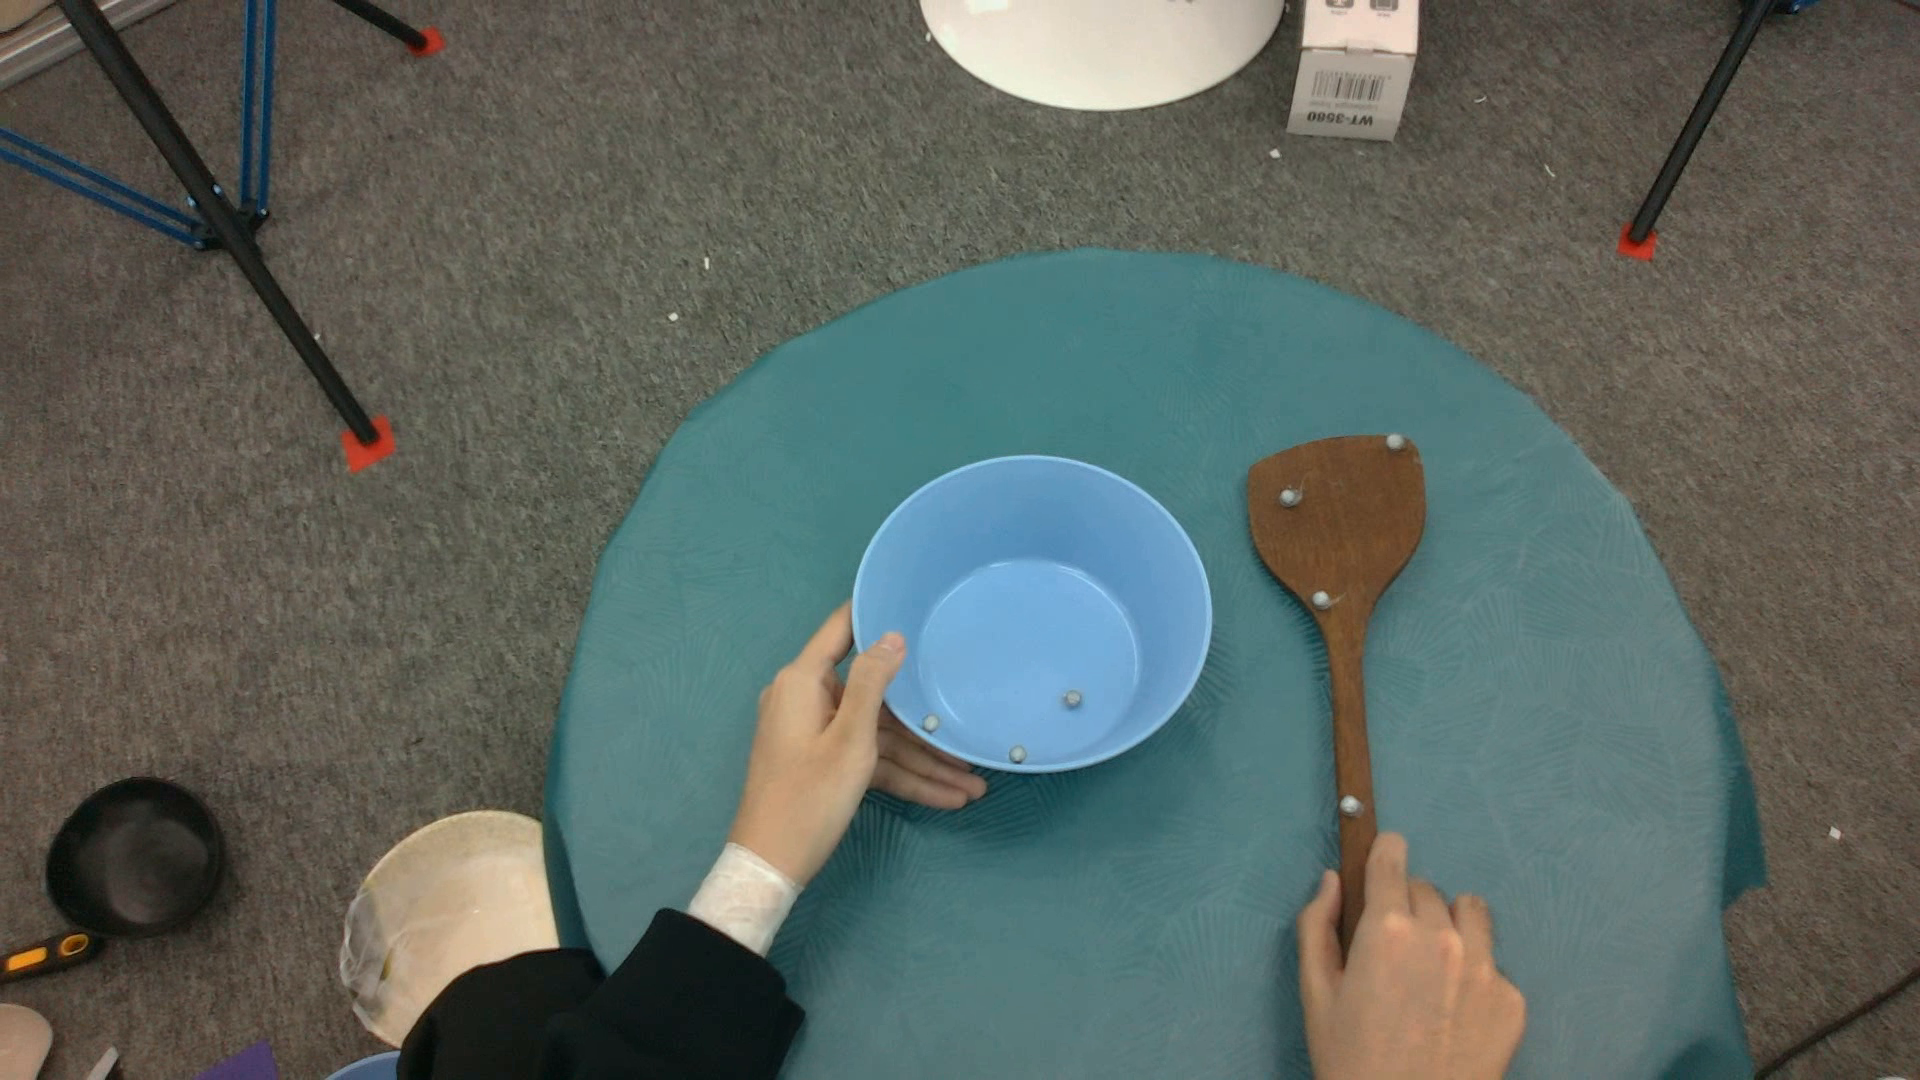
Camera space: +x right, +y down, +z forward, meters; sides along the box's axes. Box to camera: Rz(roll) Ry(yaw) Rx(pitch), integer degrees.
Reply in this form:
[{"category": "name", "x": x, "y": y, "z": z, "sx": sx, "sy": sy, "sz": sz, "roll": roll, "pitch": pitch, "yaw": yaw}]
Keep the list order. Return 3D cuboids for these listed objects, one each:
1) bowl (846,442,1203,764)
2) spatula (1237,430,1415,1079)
[{"category": "bowl", "x": 0.032, "y": 0.041, "z": 0.701, "sx": 0.176, "sy": 0.070, "sz": 0.177, "roll": 0, "pitch": 60, "yaw": 1}, {"category": "spatula", "x": 0.189, "y": 0.109, "z": 0.678, "sx": 0.096, "sy": 0.016, "sz": 0.387, "roll": -8, "pitch": 58, "yaw": 21}]
